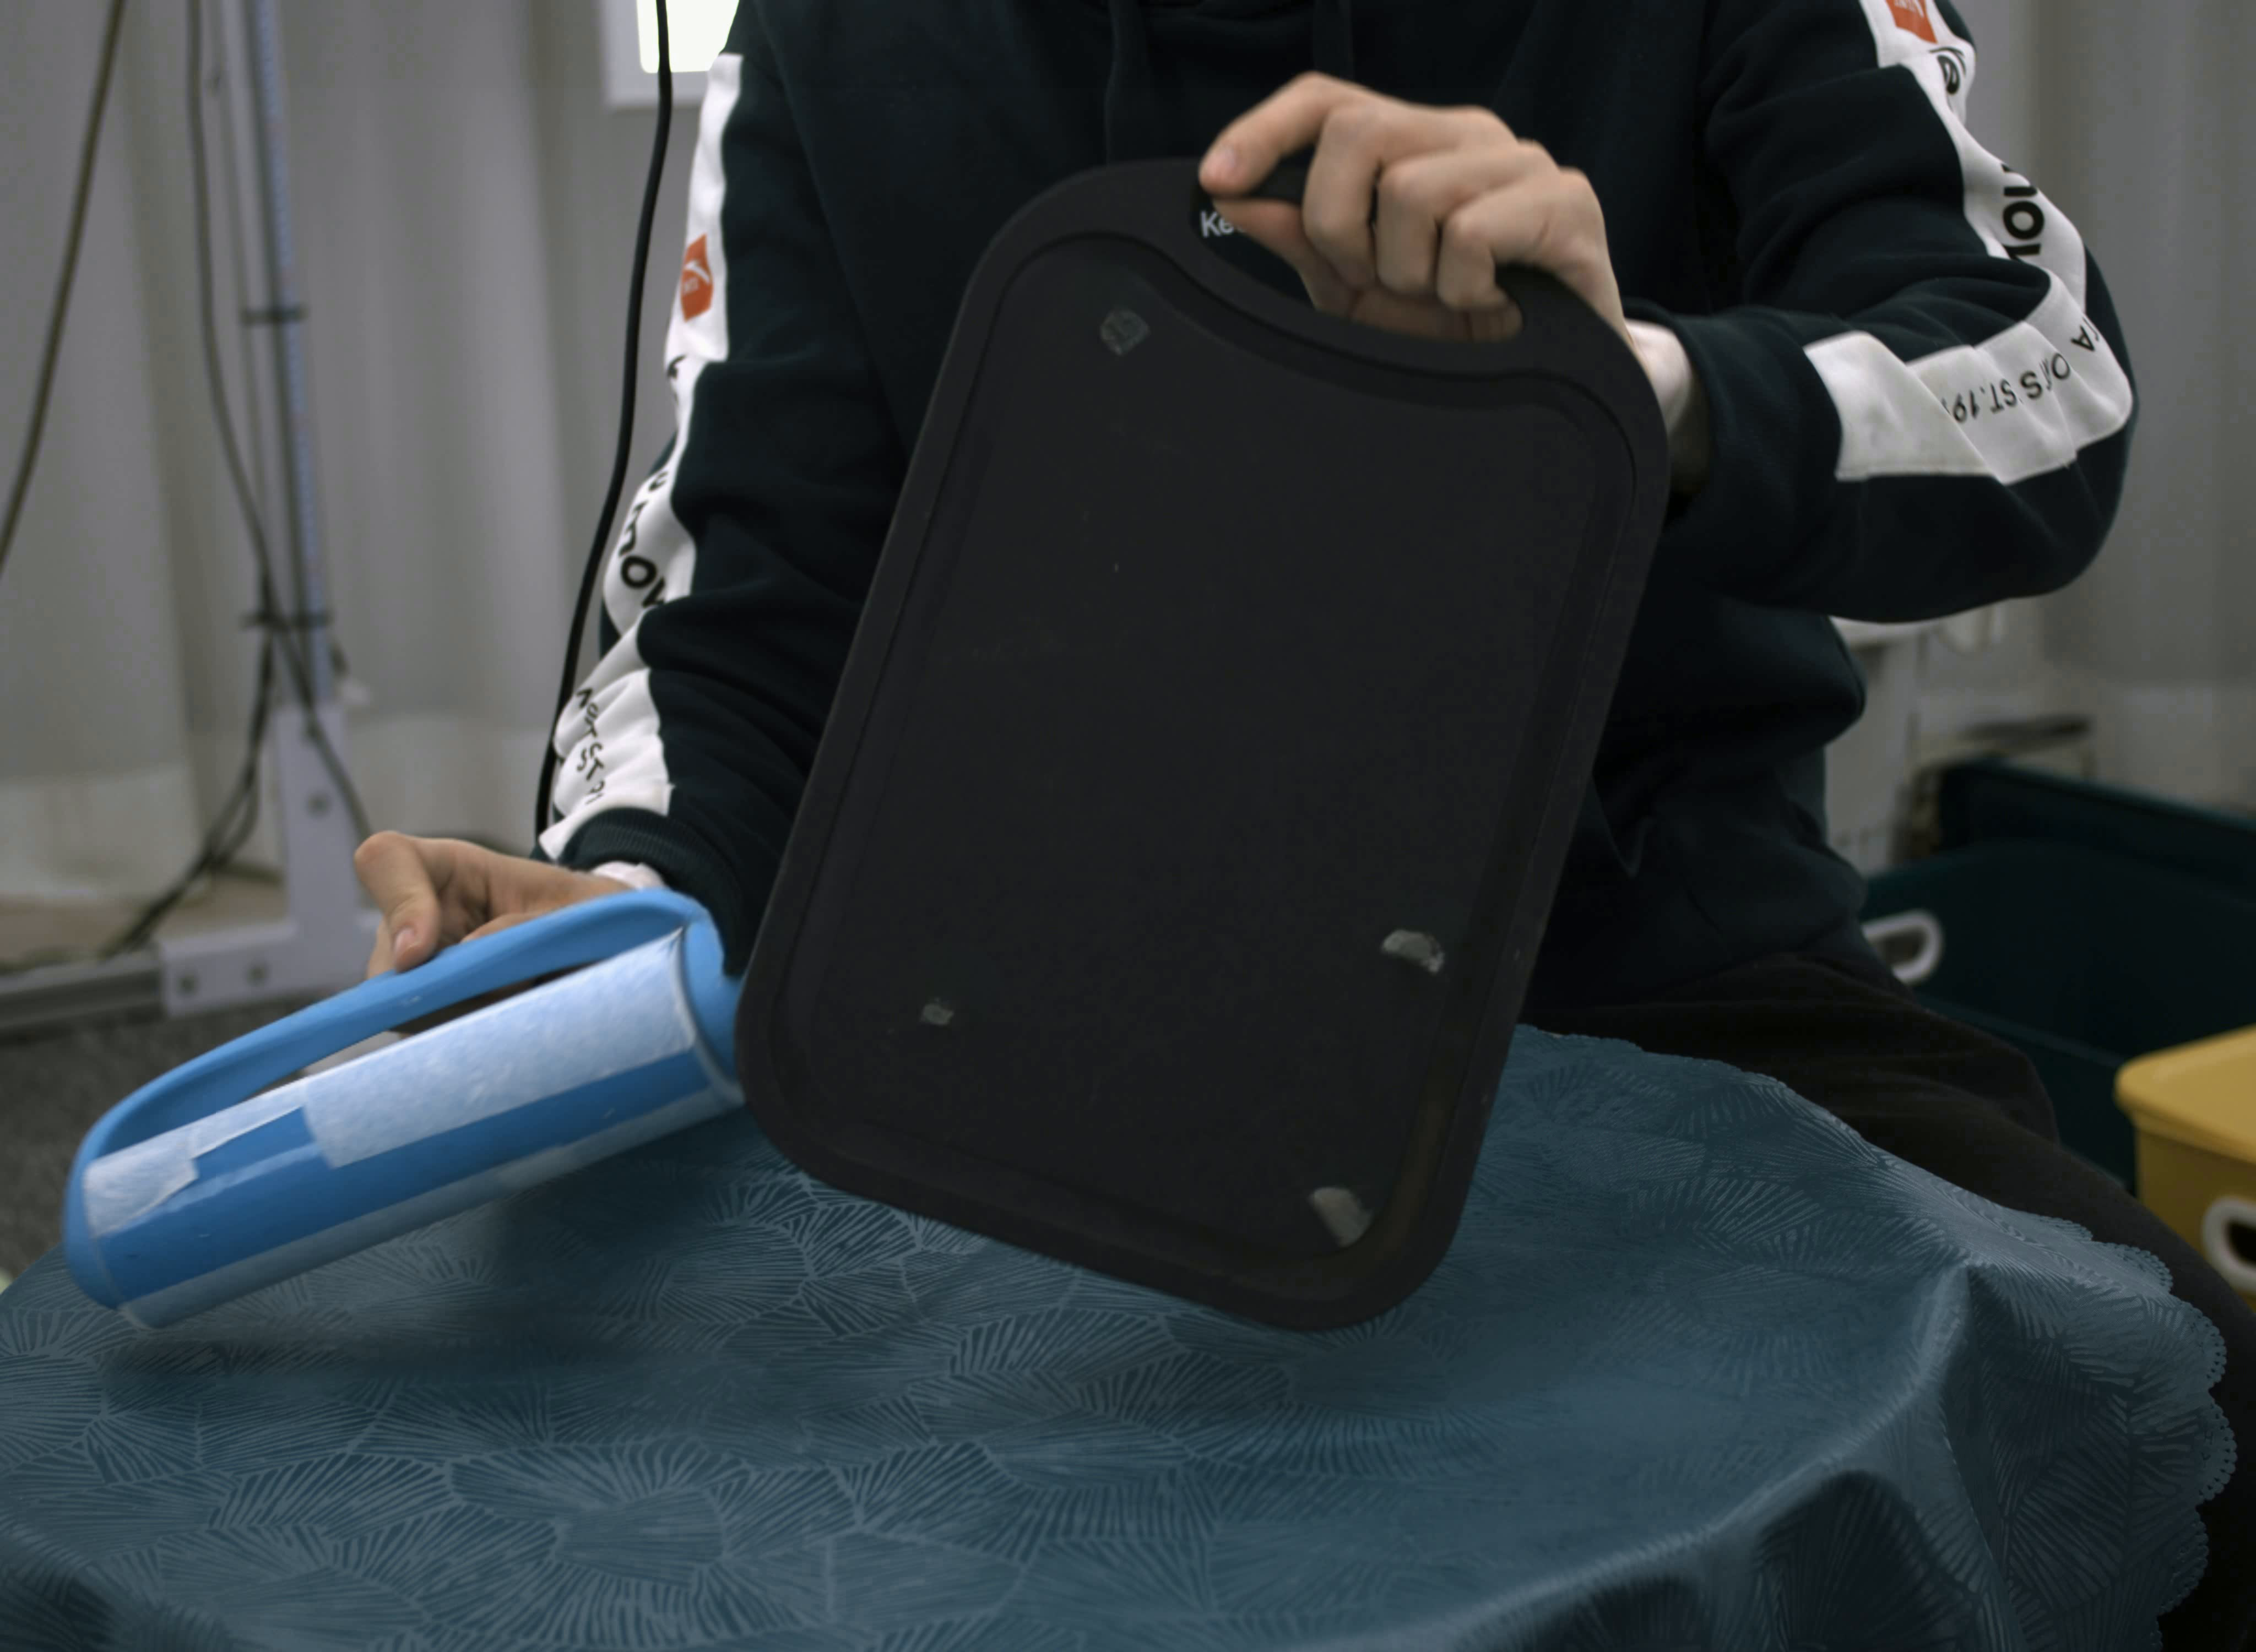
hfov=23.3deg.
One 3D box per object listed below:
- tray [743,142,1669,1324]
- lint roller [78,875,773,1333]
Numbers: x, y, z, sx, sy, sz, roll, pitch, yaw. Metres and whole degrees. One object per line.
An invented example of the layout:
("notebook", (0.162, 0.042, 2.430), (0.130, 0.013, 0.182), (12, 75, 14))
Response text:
("tray", (0.027, -0.036, 1.536), (0.210, 0.328, 0.010), (18, -13, -4))
("lint roller", (-0.201, 0.069, 1.645), (0.228, 0.067, 0.181), (-25, 14, 8))
